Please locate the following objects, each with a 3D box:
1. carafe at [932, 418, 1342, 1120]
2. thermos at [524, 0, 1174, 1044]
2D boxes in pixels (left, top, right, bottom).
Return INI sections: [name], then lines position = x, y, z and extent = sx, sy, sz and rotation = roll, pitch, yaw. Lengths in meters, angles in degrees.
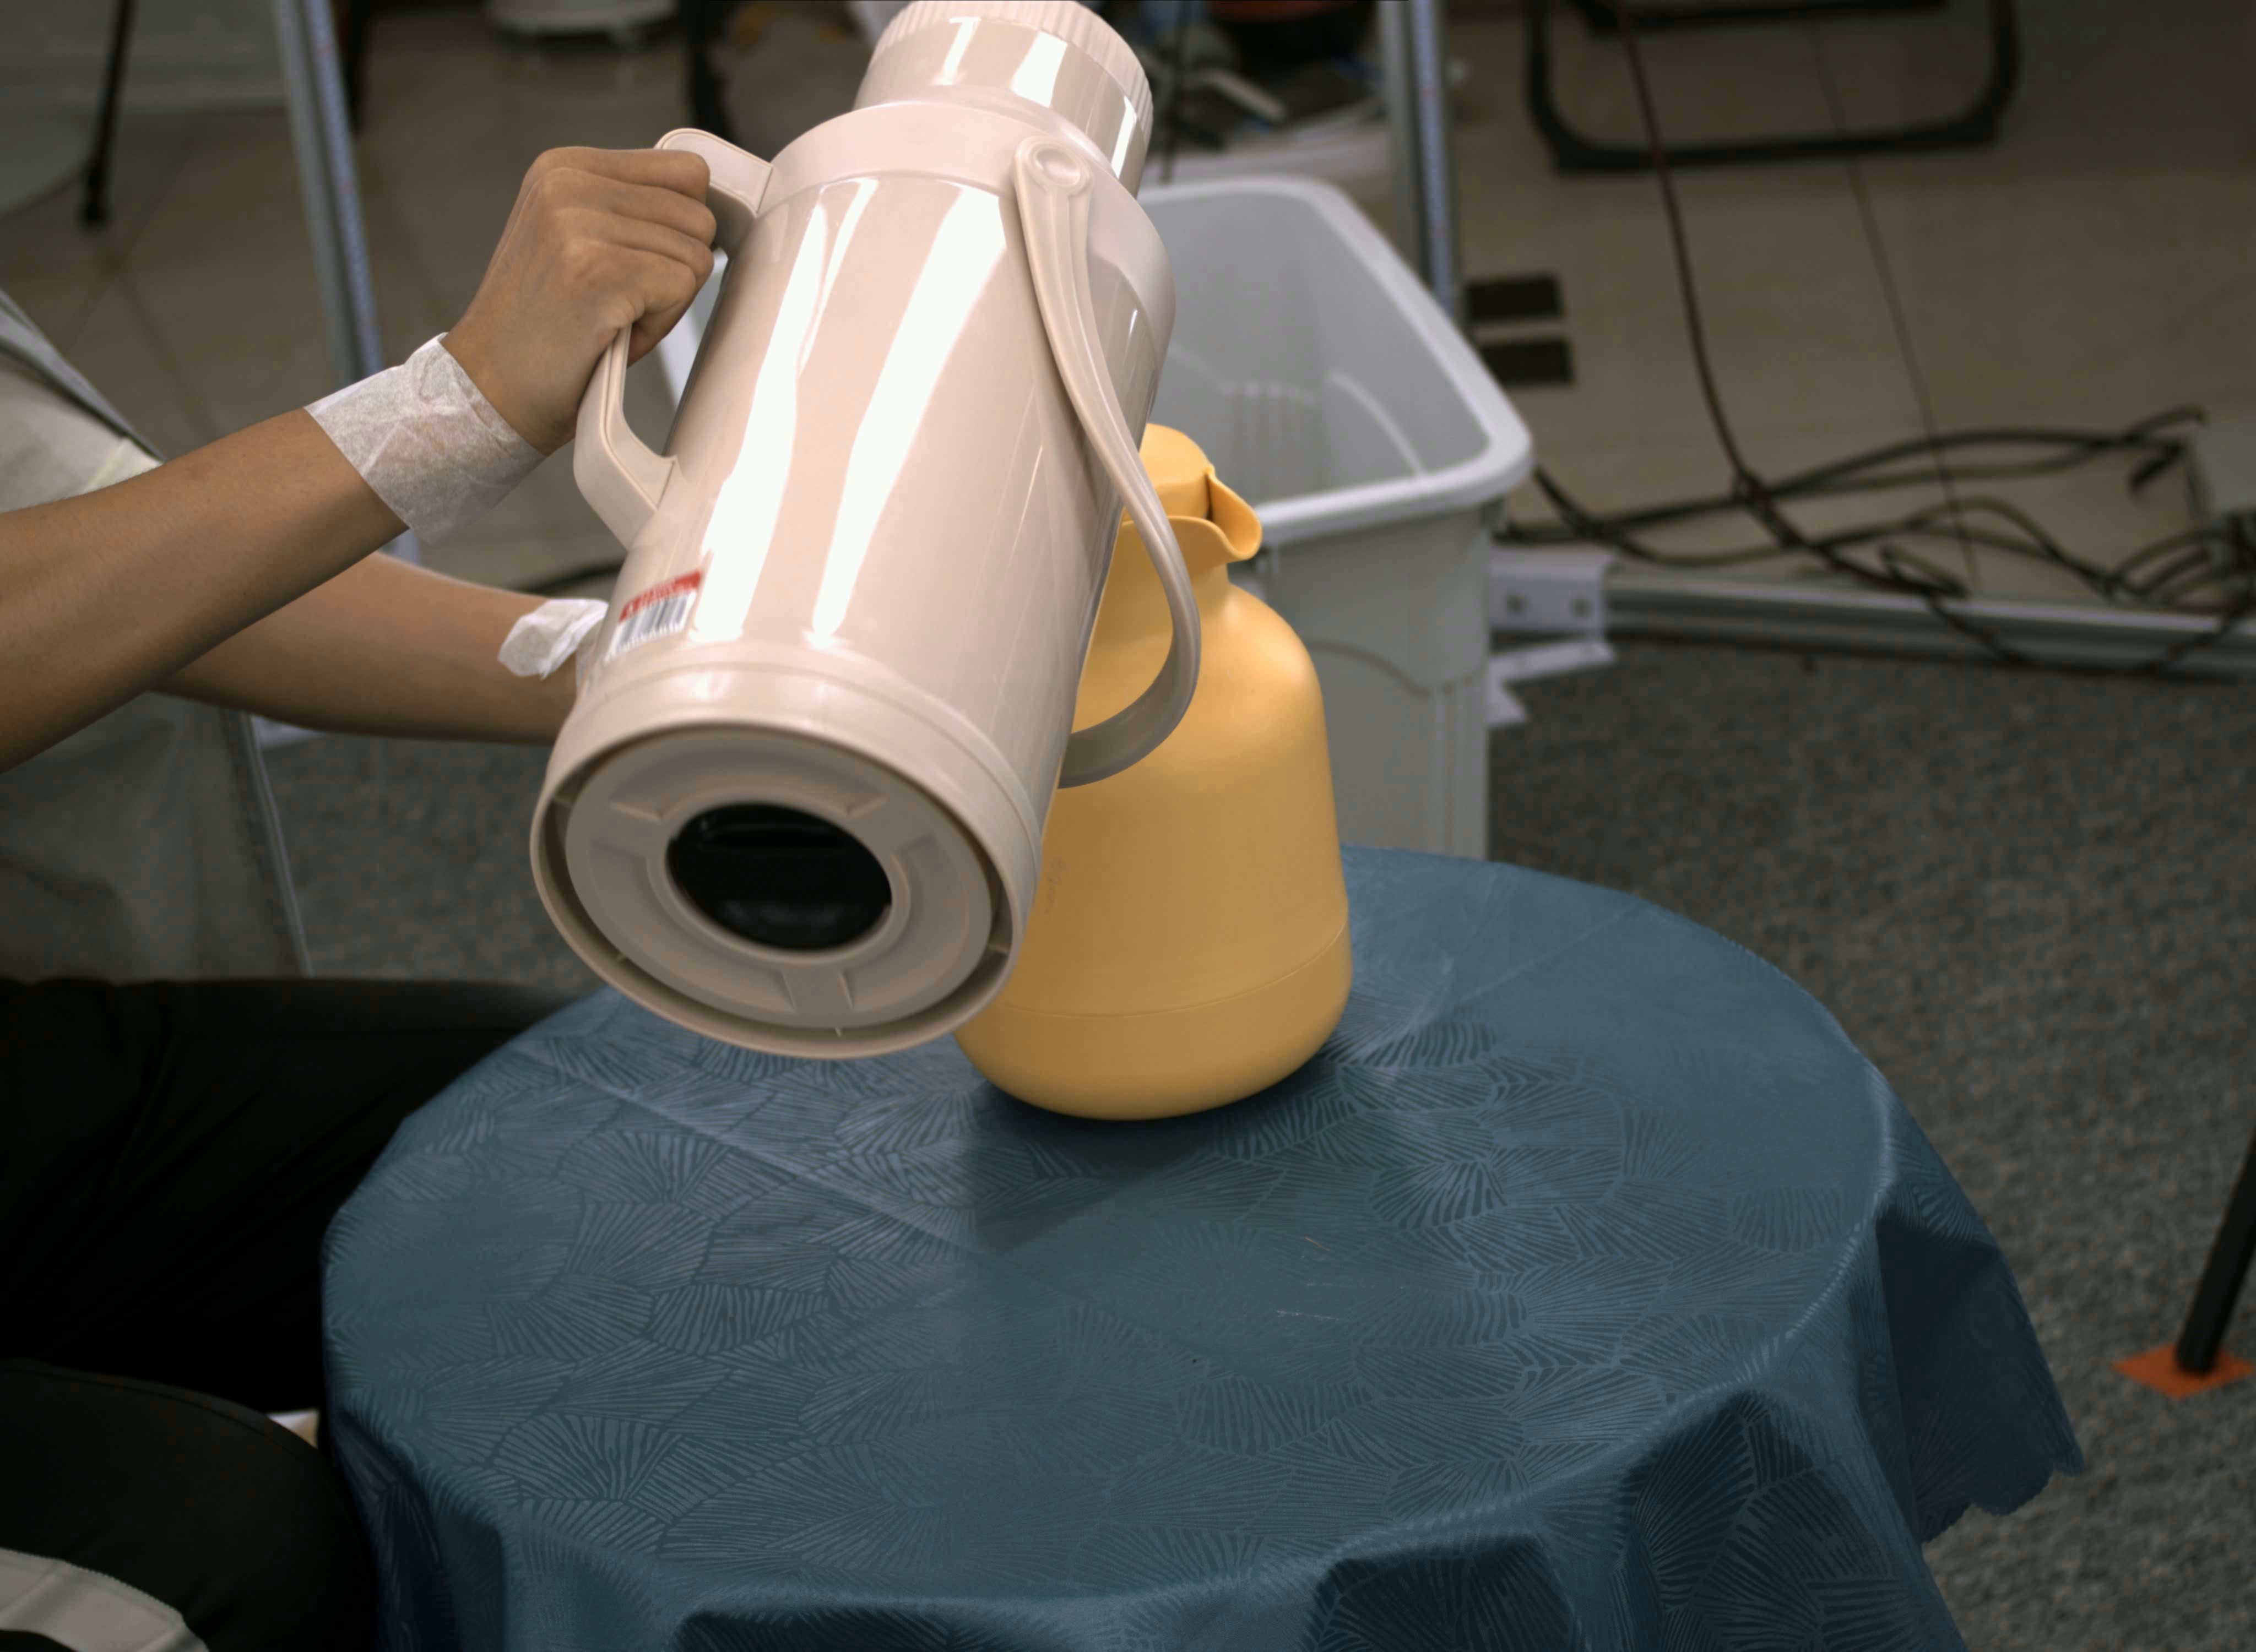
[carafe]
position = -0.018, -0.031, 2.205
extent = 0.201, 0.264, 0.162
rotation = 15, 31, 36
[thermos]
position = -0.091, -0.129, 1.909
extent = 0.208, 0.178, 0.399
rotation = 27, 48, -13
